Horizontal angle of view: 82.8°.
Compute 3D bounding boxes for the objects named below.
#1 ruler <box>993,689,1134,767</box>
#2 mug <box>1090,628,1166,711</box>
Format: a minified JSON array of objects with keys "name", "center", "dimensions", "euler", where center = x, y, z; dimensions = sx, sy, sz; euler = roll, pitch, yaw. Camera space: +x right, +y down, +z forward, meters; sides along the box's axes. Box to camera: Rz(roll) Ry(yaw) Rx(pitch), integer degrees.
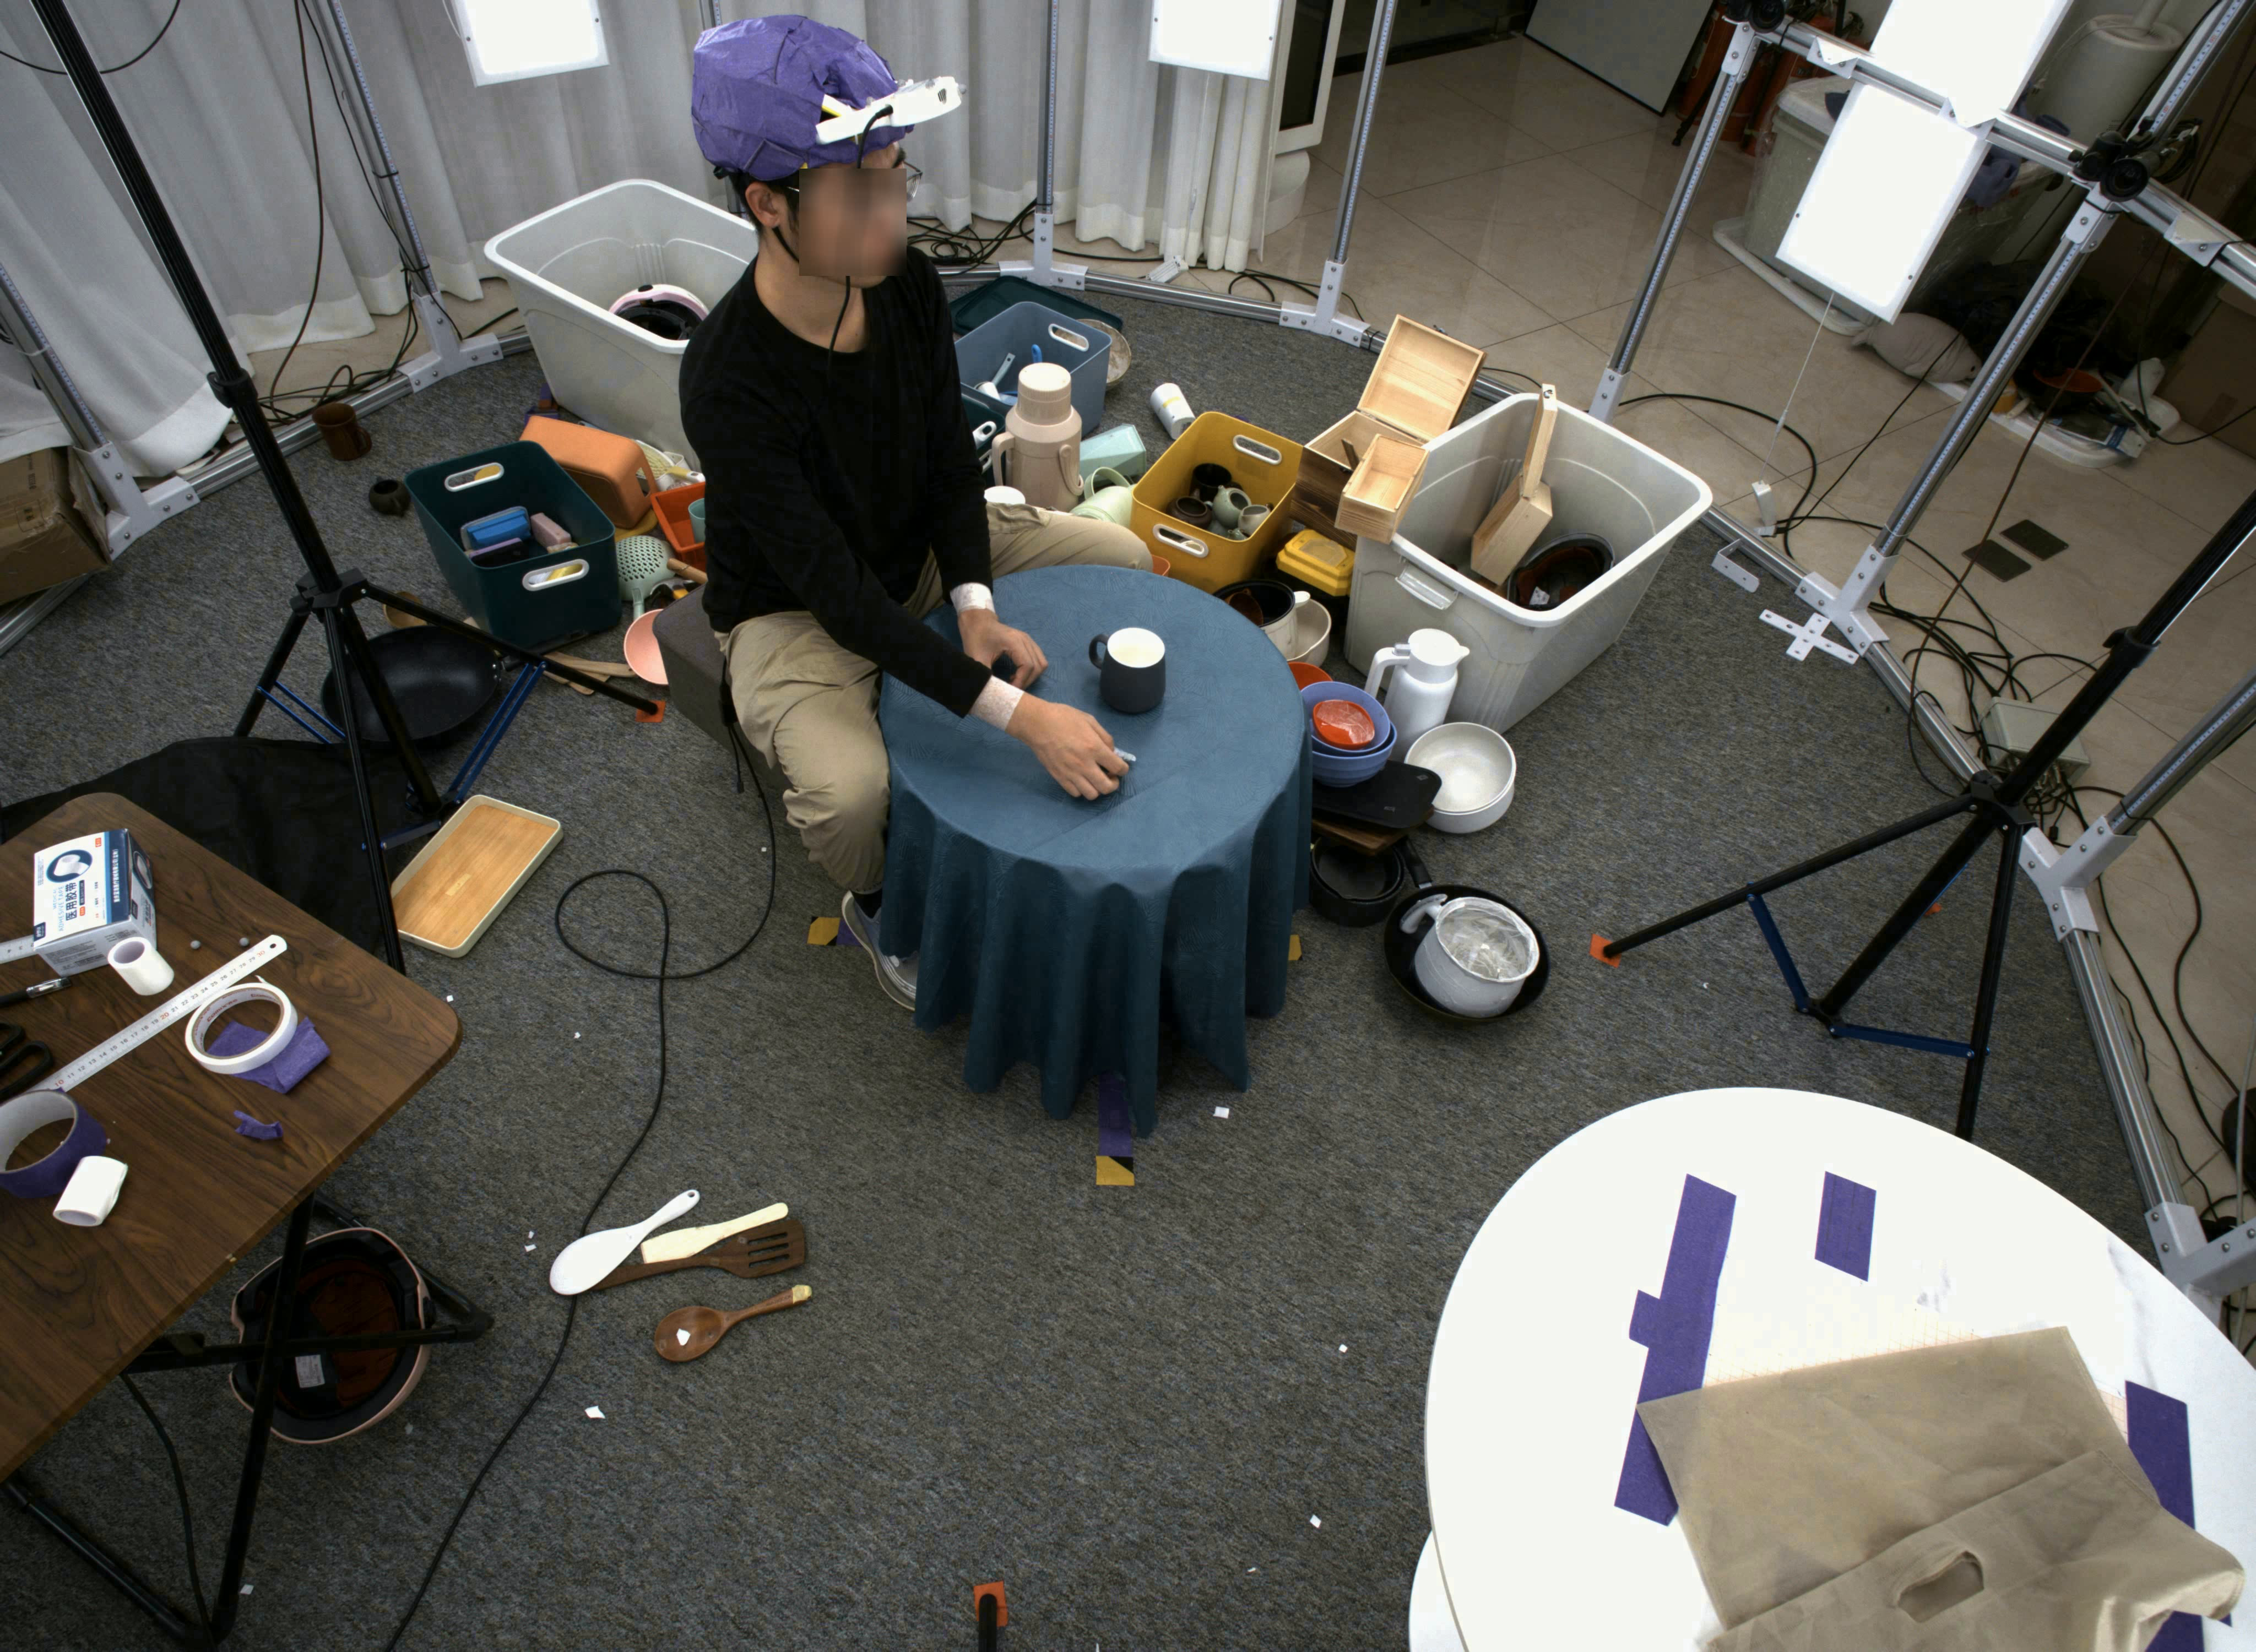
[{"name":"ruler","center":[-0.092,-0.137,1.758],"dimensions":[0.220,0.023,0.039],"euler":[25,45,22]},{"name":"mug","center":[-0.003,-0.228,1.807],"dimensions":[0.125,0.088,0.094],"euler":[35,54,22]}]
